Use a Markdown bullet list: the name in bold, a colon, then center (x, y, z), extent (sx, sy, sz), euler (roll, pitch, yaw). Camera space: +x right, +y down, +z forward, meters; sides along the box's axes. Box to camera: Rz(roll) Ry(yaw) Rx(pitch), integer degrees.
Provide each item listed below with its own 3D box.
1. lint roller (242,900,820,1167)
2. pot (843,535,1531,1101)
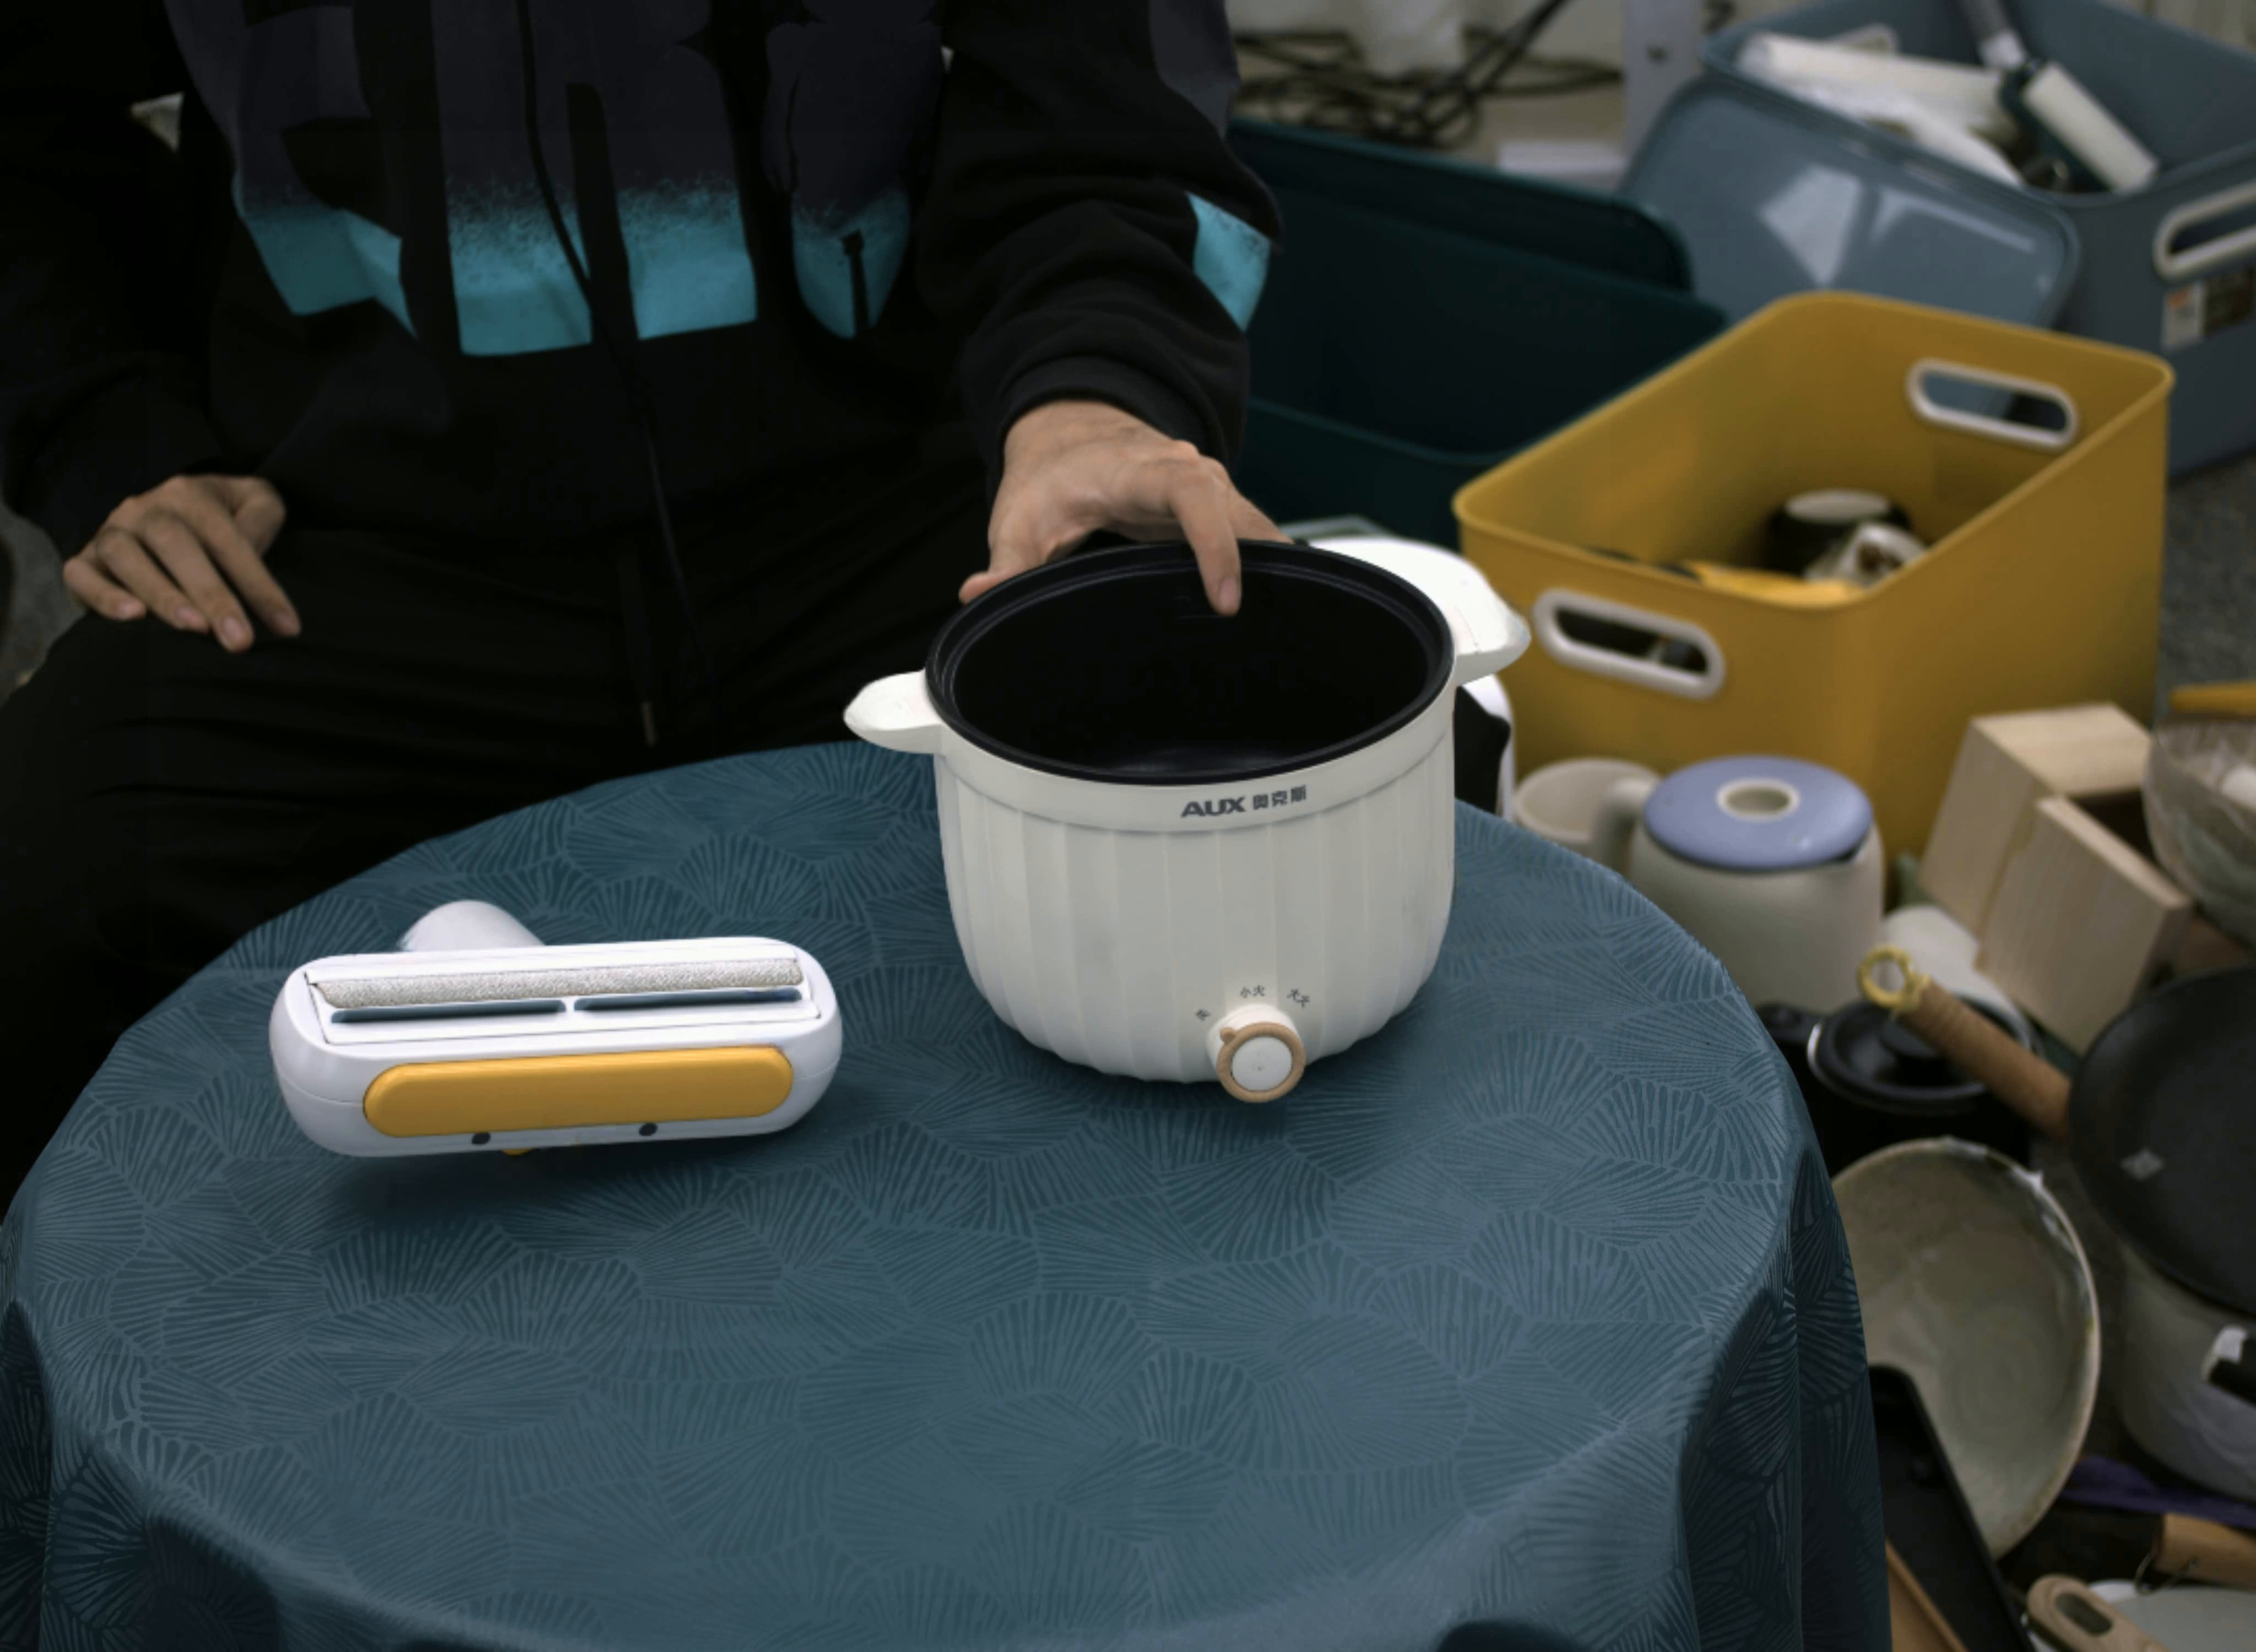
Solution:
- **lint roller**: center (-0.214, 0.057, 1.933), extent (0.193, 0.073, 0.194), euler (-4, 25, -15)
- **pot**: center (0.026, 0.001, 1.939), extent (0.240, 0.141, 0.192), euler (-9, 25, -9)
